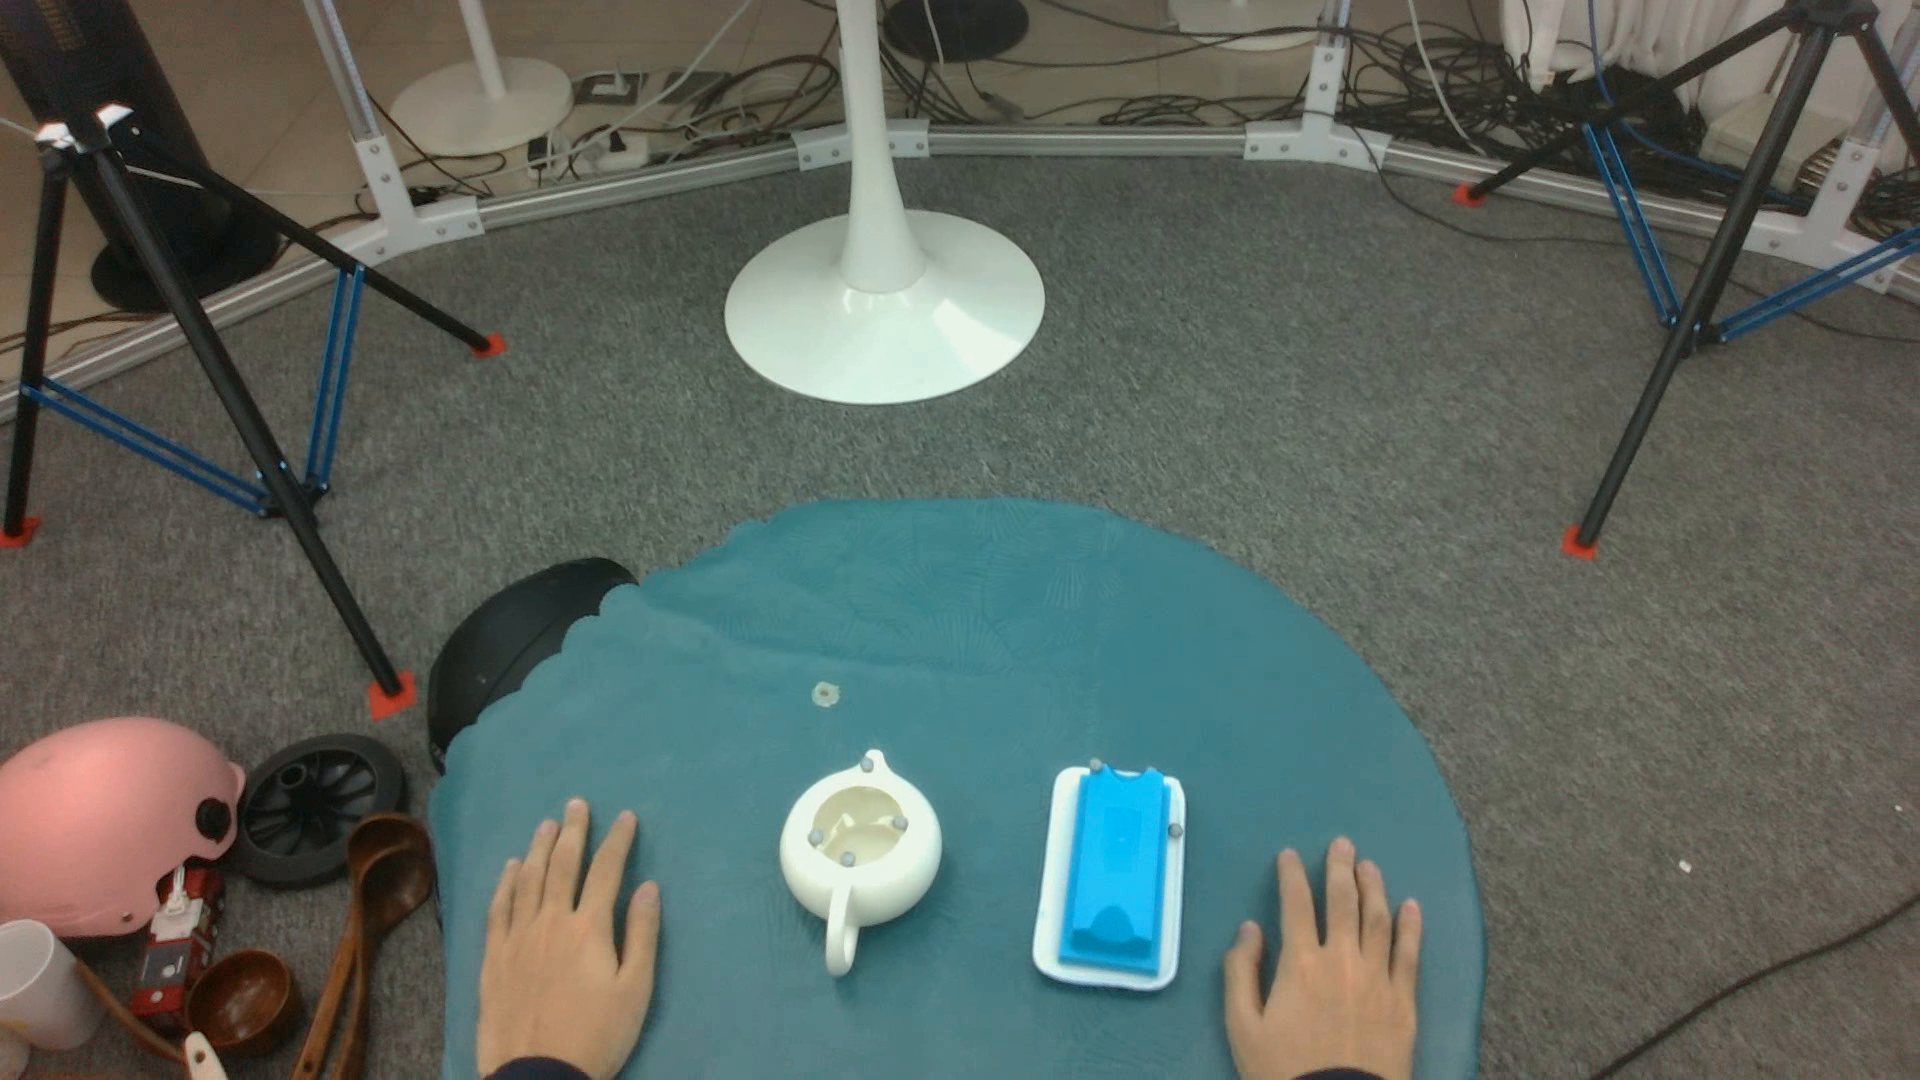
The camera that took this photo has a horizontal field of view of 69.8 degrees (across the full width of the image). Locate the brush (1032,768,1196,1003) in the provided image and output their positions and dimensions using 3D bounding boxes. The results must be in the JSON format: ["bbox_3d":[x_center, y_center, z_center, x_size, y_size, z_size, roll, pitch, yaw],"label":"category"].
[{"bbox_3d":[0.090,0.189,0.789,0.084,0.055,0.145,6,45,11],"label":"brush"}]

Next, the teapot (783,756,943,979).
[{"bbox_3d":[-0.057,0.190,0.799,0.093,0.056,0.128,3,48,1],"label":"teapot"}]
